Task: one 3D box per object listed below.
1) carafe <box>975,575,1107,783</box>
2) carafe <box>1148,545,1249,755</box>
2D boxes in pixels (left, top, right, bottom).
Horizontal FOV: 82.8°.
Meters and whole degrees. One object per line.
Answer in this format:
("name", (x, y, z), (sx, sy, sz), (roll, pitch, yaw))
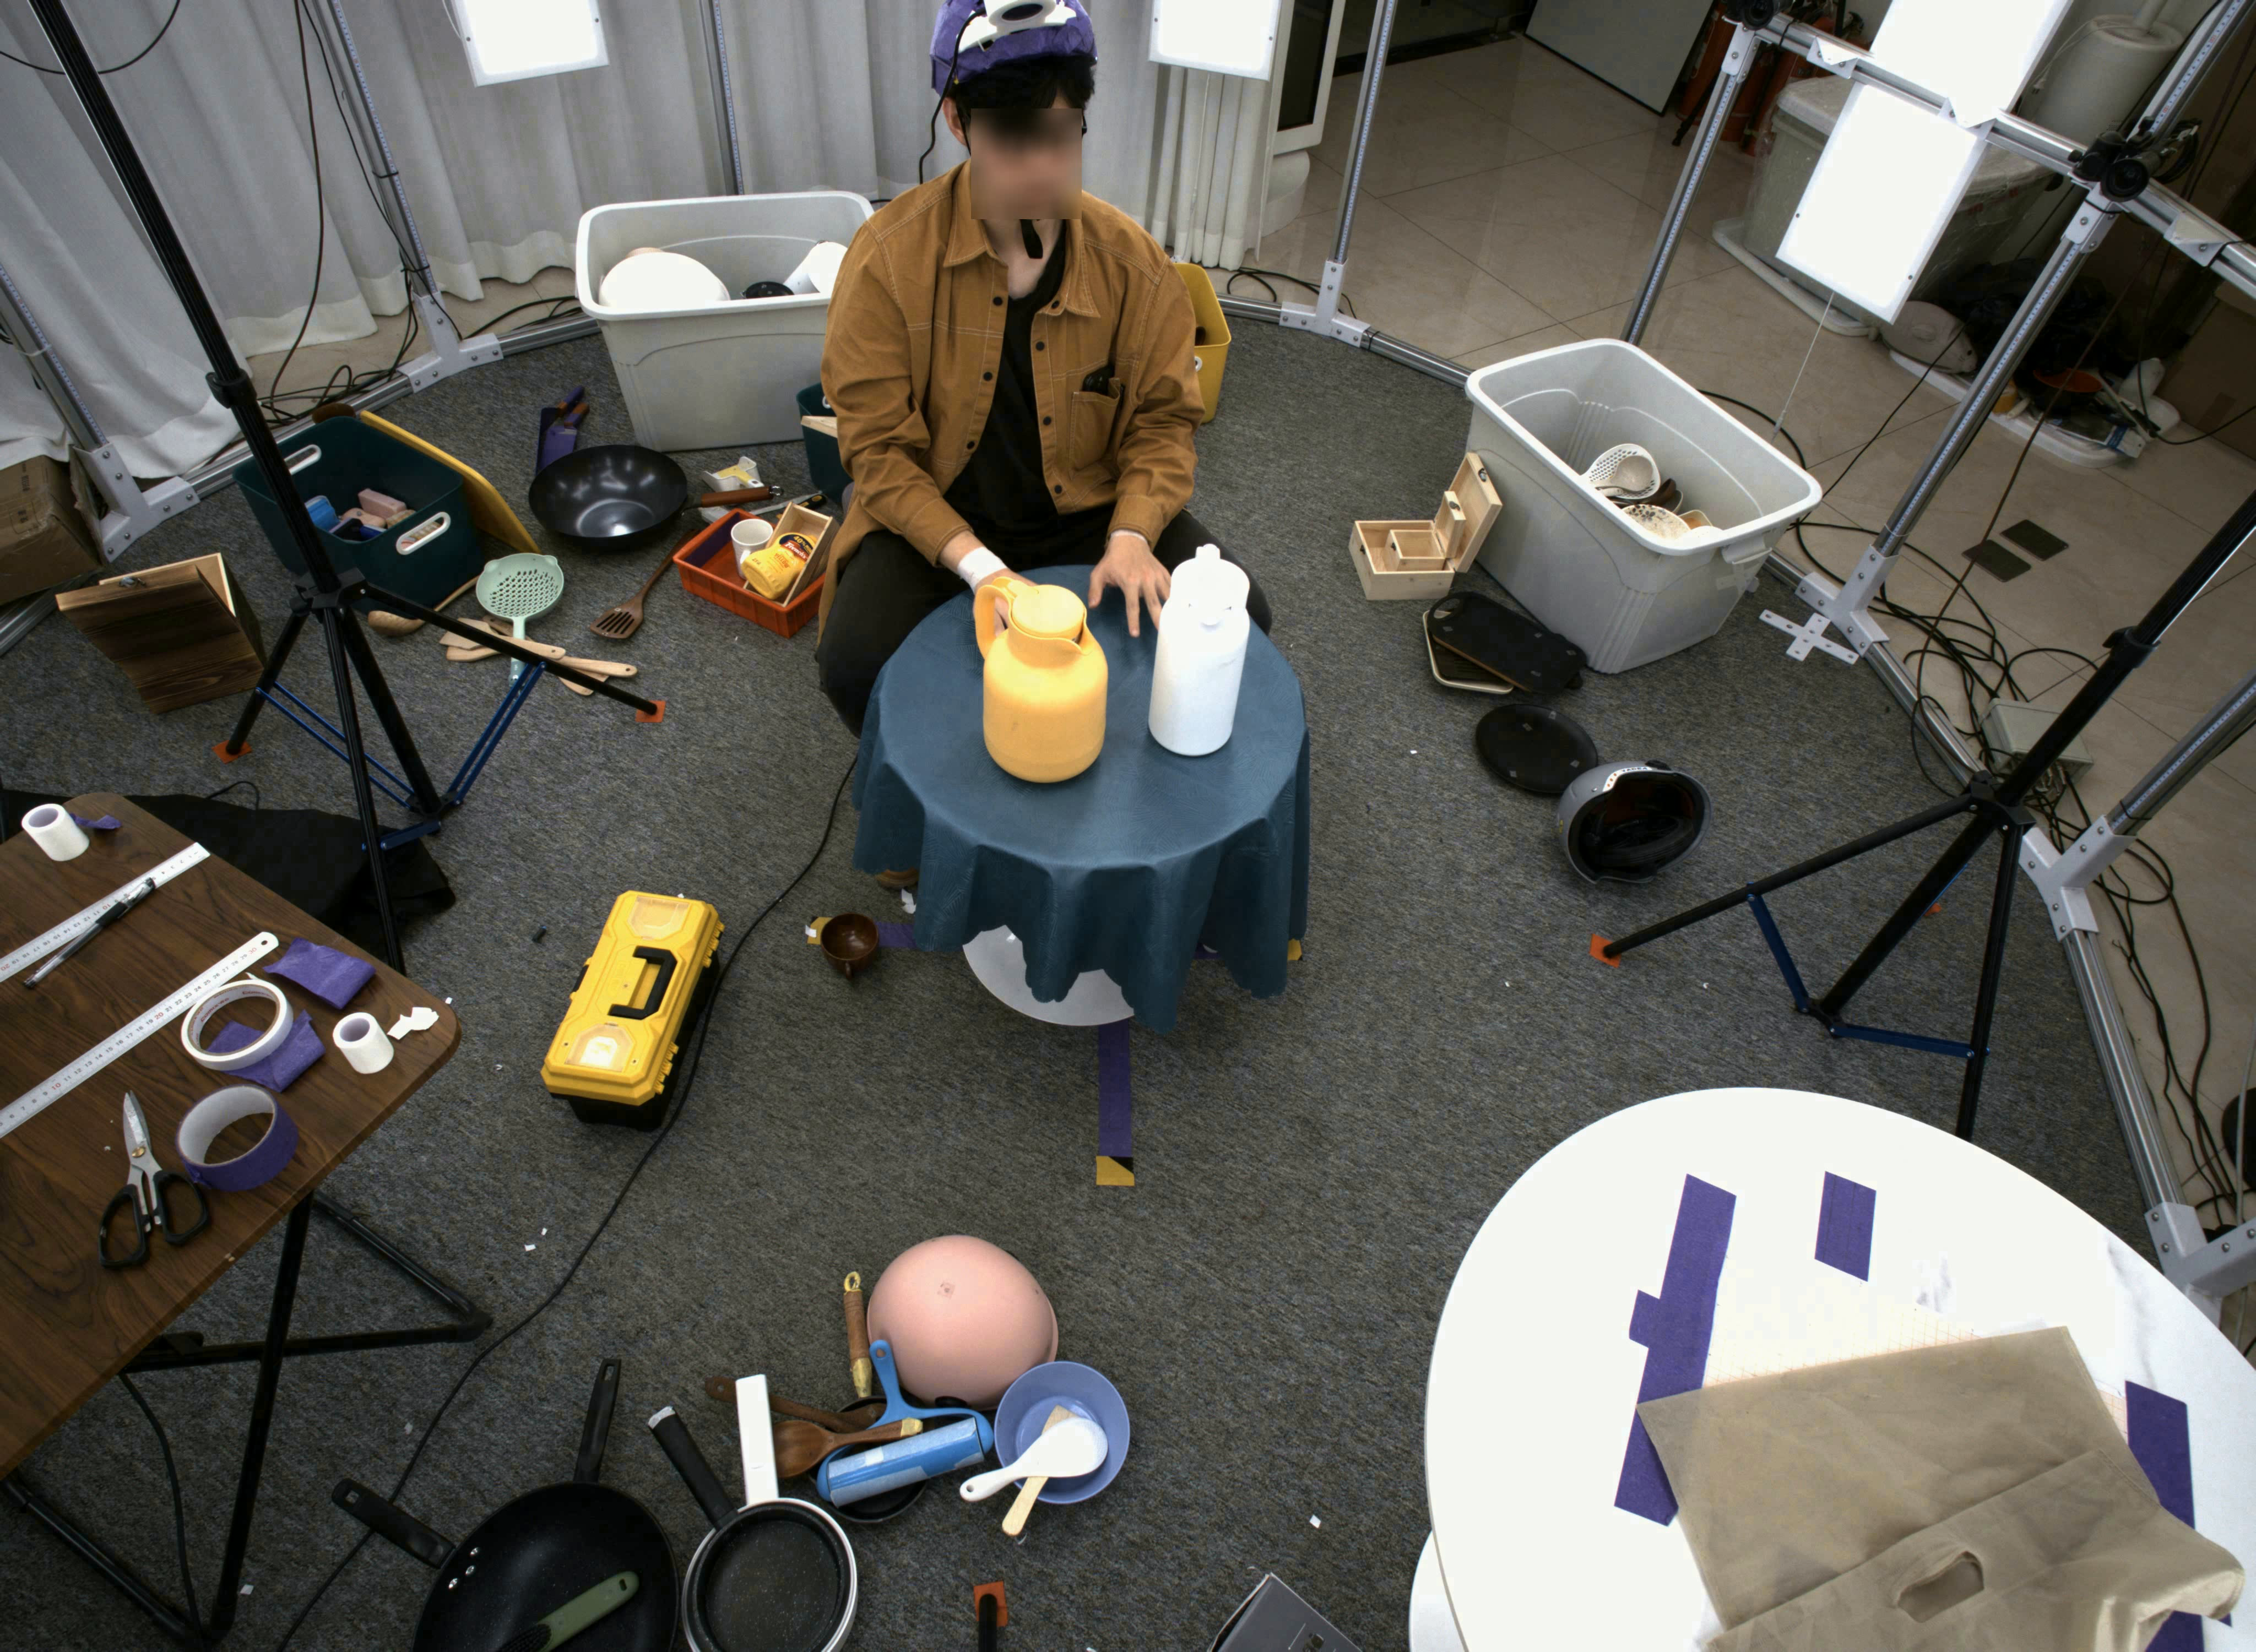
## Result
("carafe", (-0.121, -0.199, 1.665), (0.165, 0.254, 0.205), (-33, 60, -31))
("carafe", (0.093, -0.235, 1.706), (0.124, 0.262, 0.177), (2, 49, 0))
